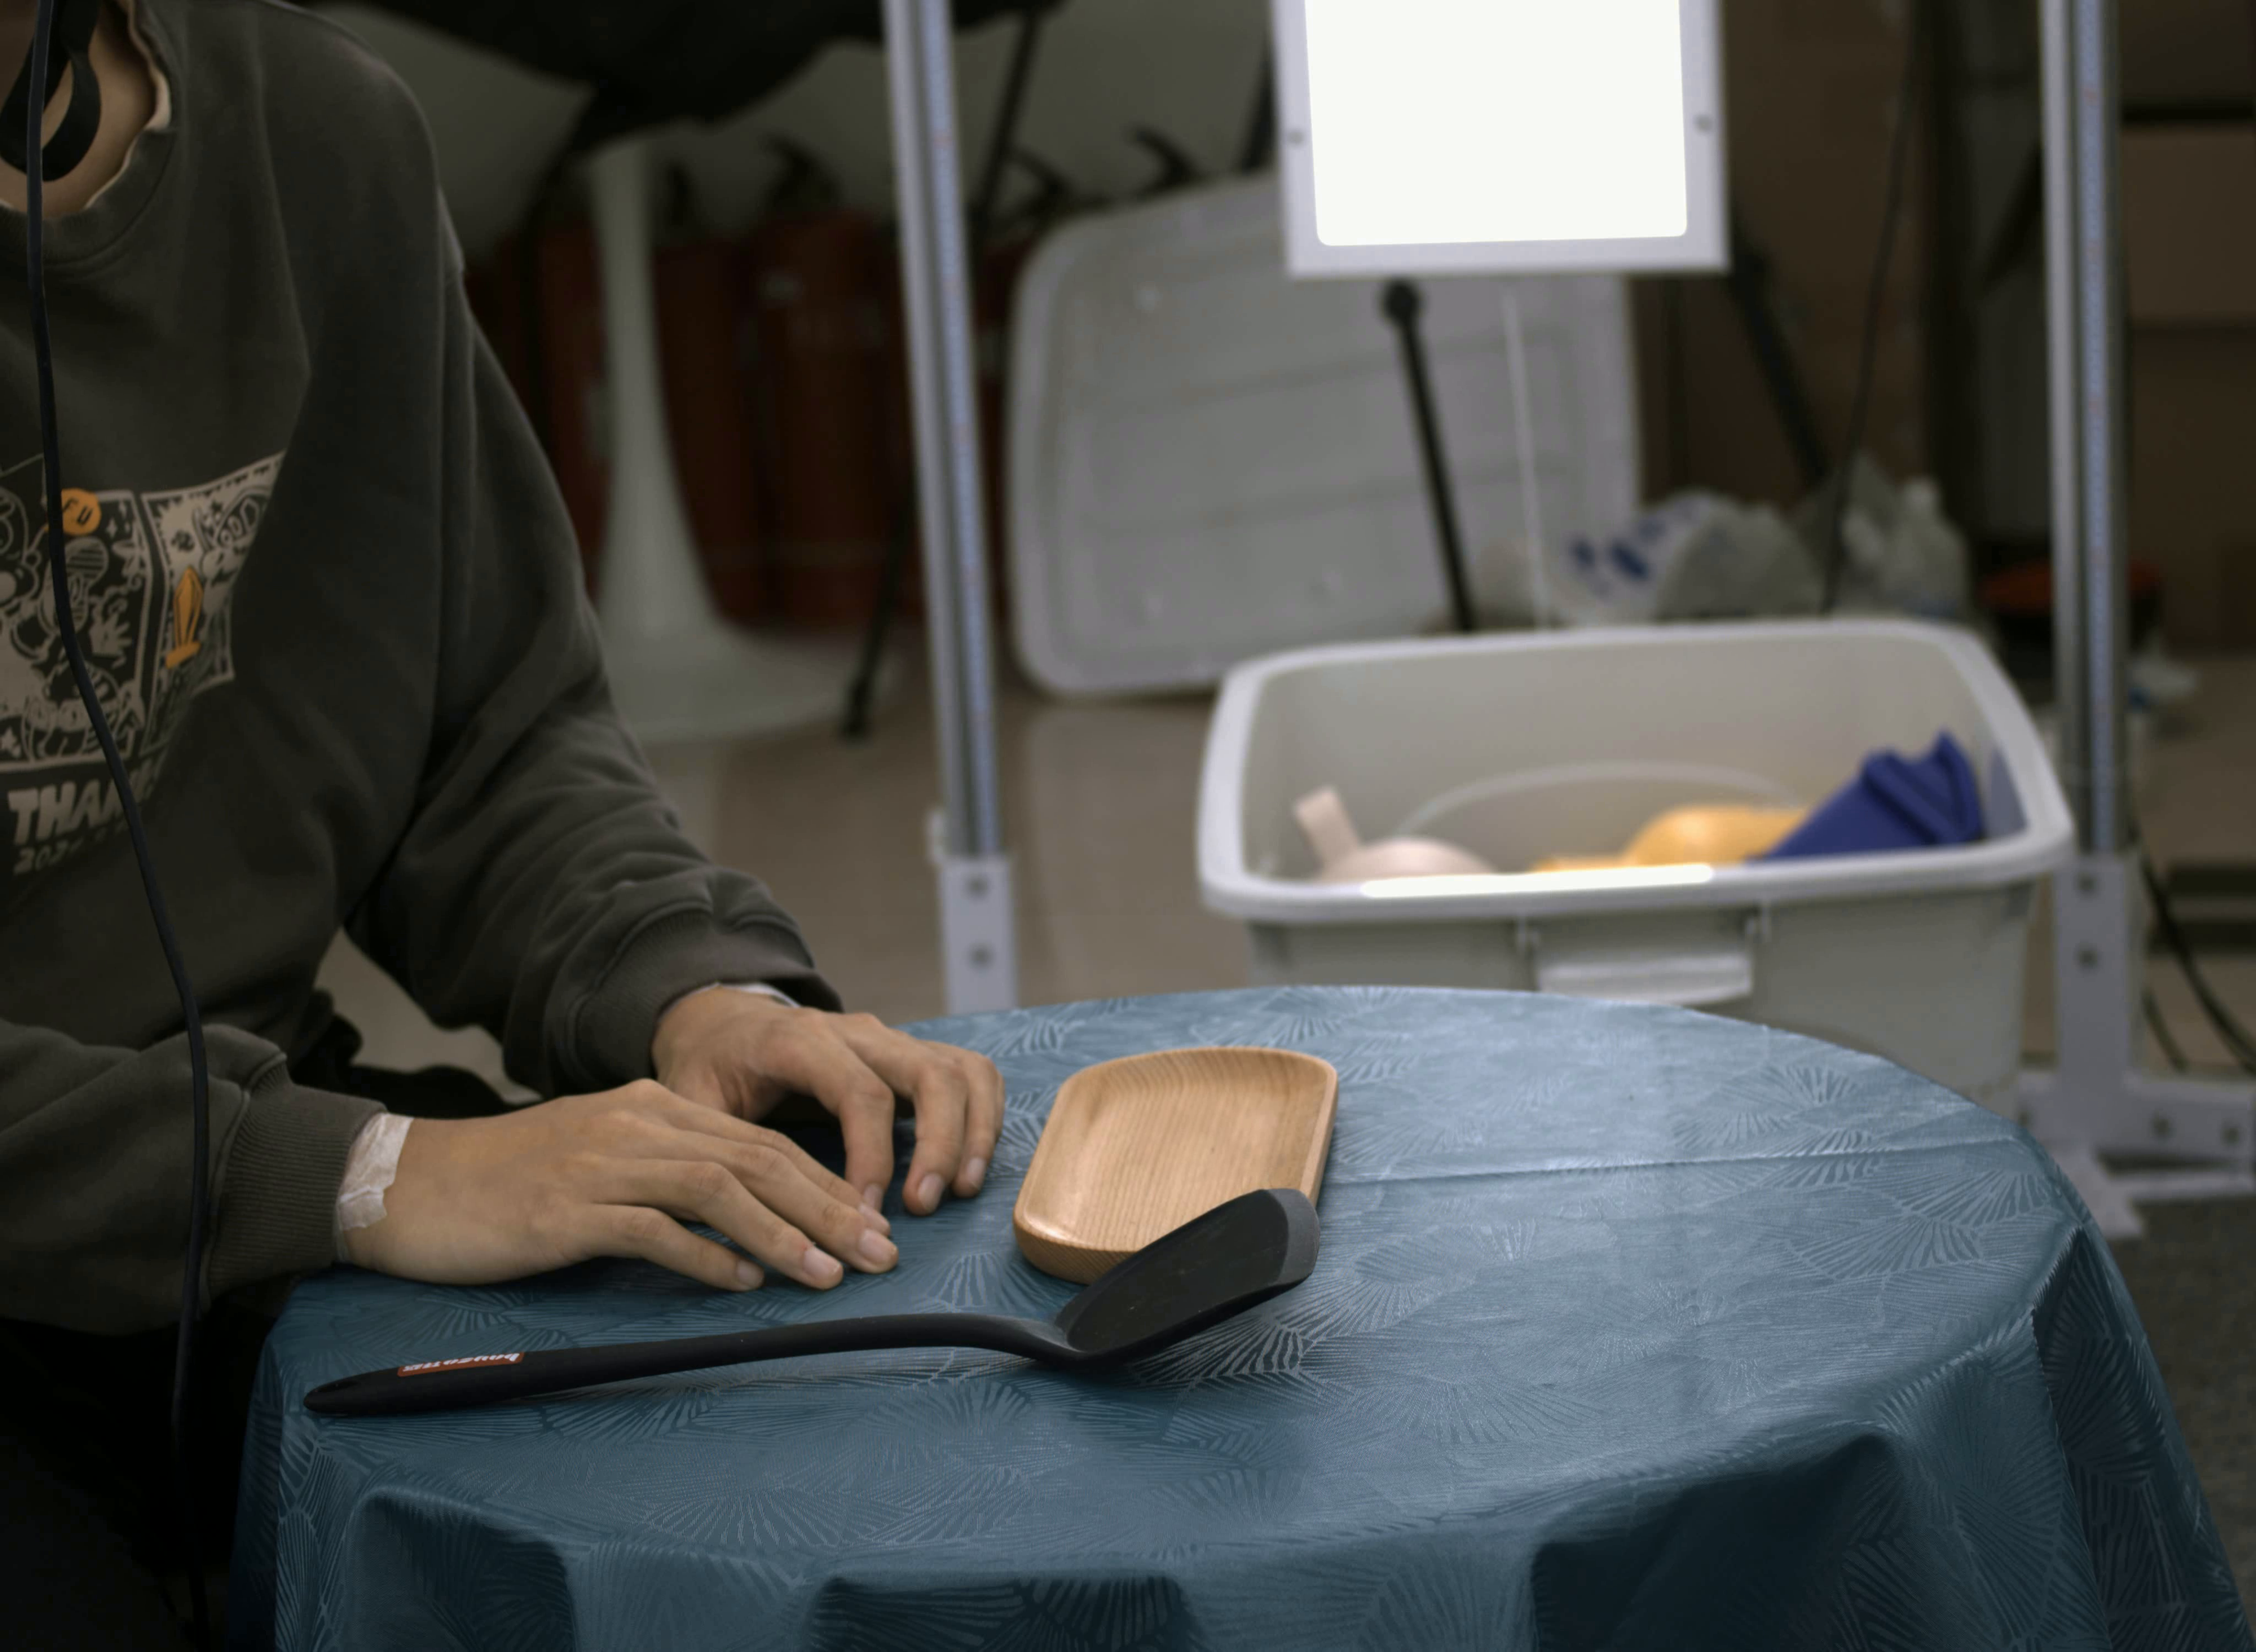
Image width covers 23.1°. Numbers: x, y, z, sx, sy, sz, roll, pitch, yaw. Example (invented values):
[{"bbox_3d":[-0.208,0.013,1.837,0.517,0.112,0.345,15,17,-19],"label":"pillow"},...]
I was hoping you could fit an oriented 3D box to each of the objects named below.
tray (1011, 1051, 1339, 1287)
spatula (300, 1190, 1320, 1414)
[{"bbox_3d":[0.019,0.116,1.897,0.102,0.020,0.229,-4,15,8],"label":"tray"},{"bbox_3d":[-0.100,0.156,1.737,0.326,0.040,0.099,-4,13,3],"label":"spatula"}]
